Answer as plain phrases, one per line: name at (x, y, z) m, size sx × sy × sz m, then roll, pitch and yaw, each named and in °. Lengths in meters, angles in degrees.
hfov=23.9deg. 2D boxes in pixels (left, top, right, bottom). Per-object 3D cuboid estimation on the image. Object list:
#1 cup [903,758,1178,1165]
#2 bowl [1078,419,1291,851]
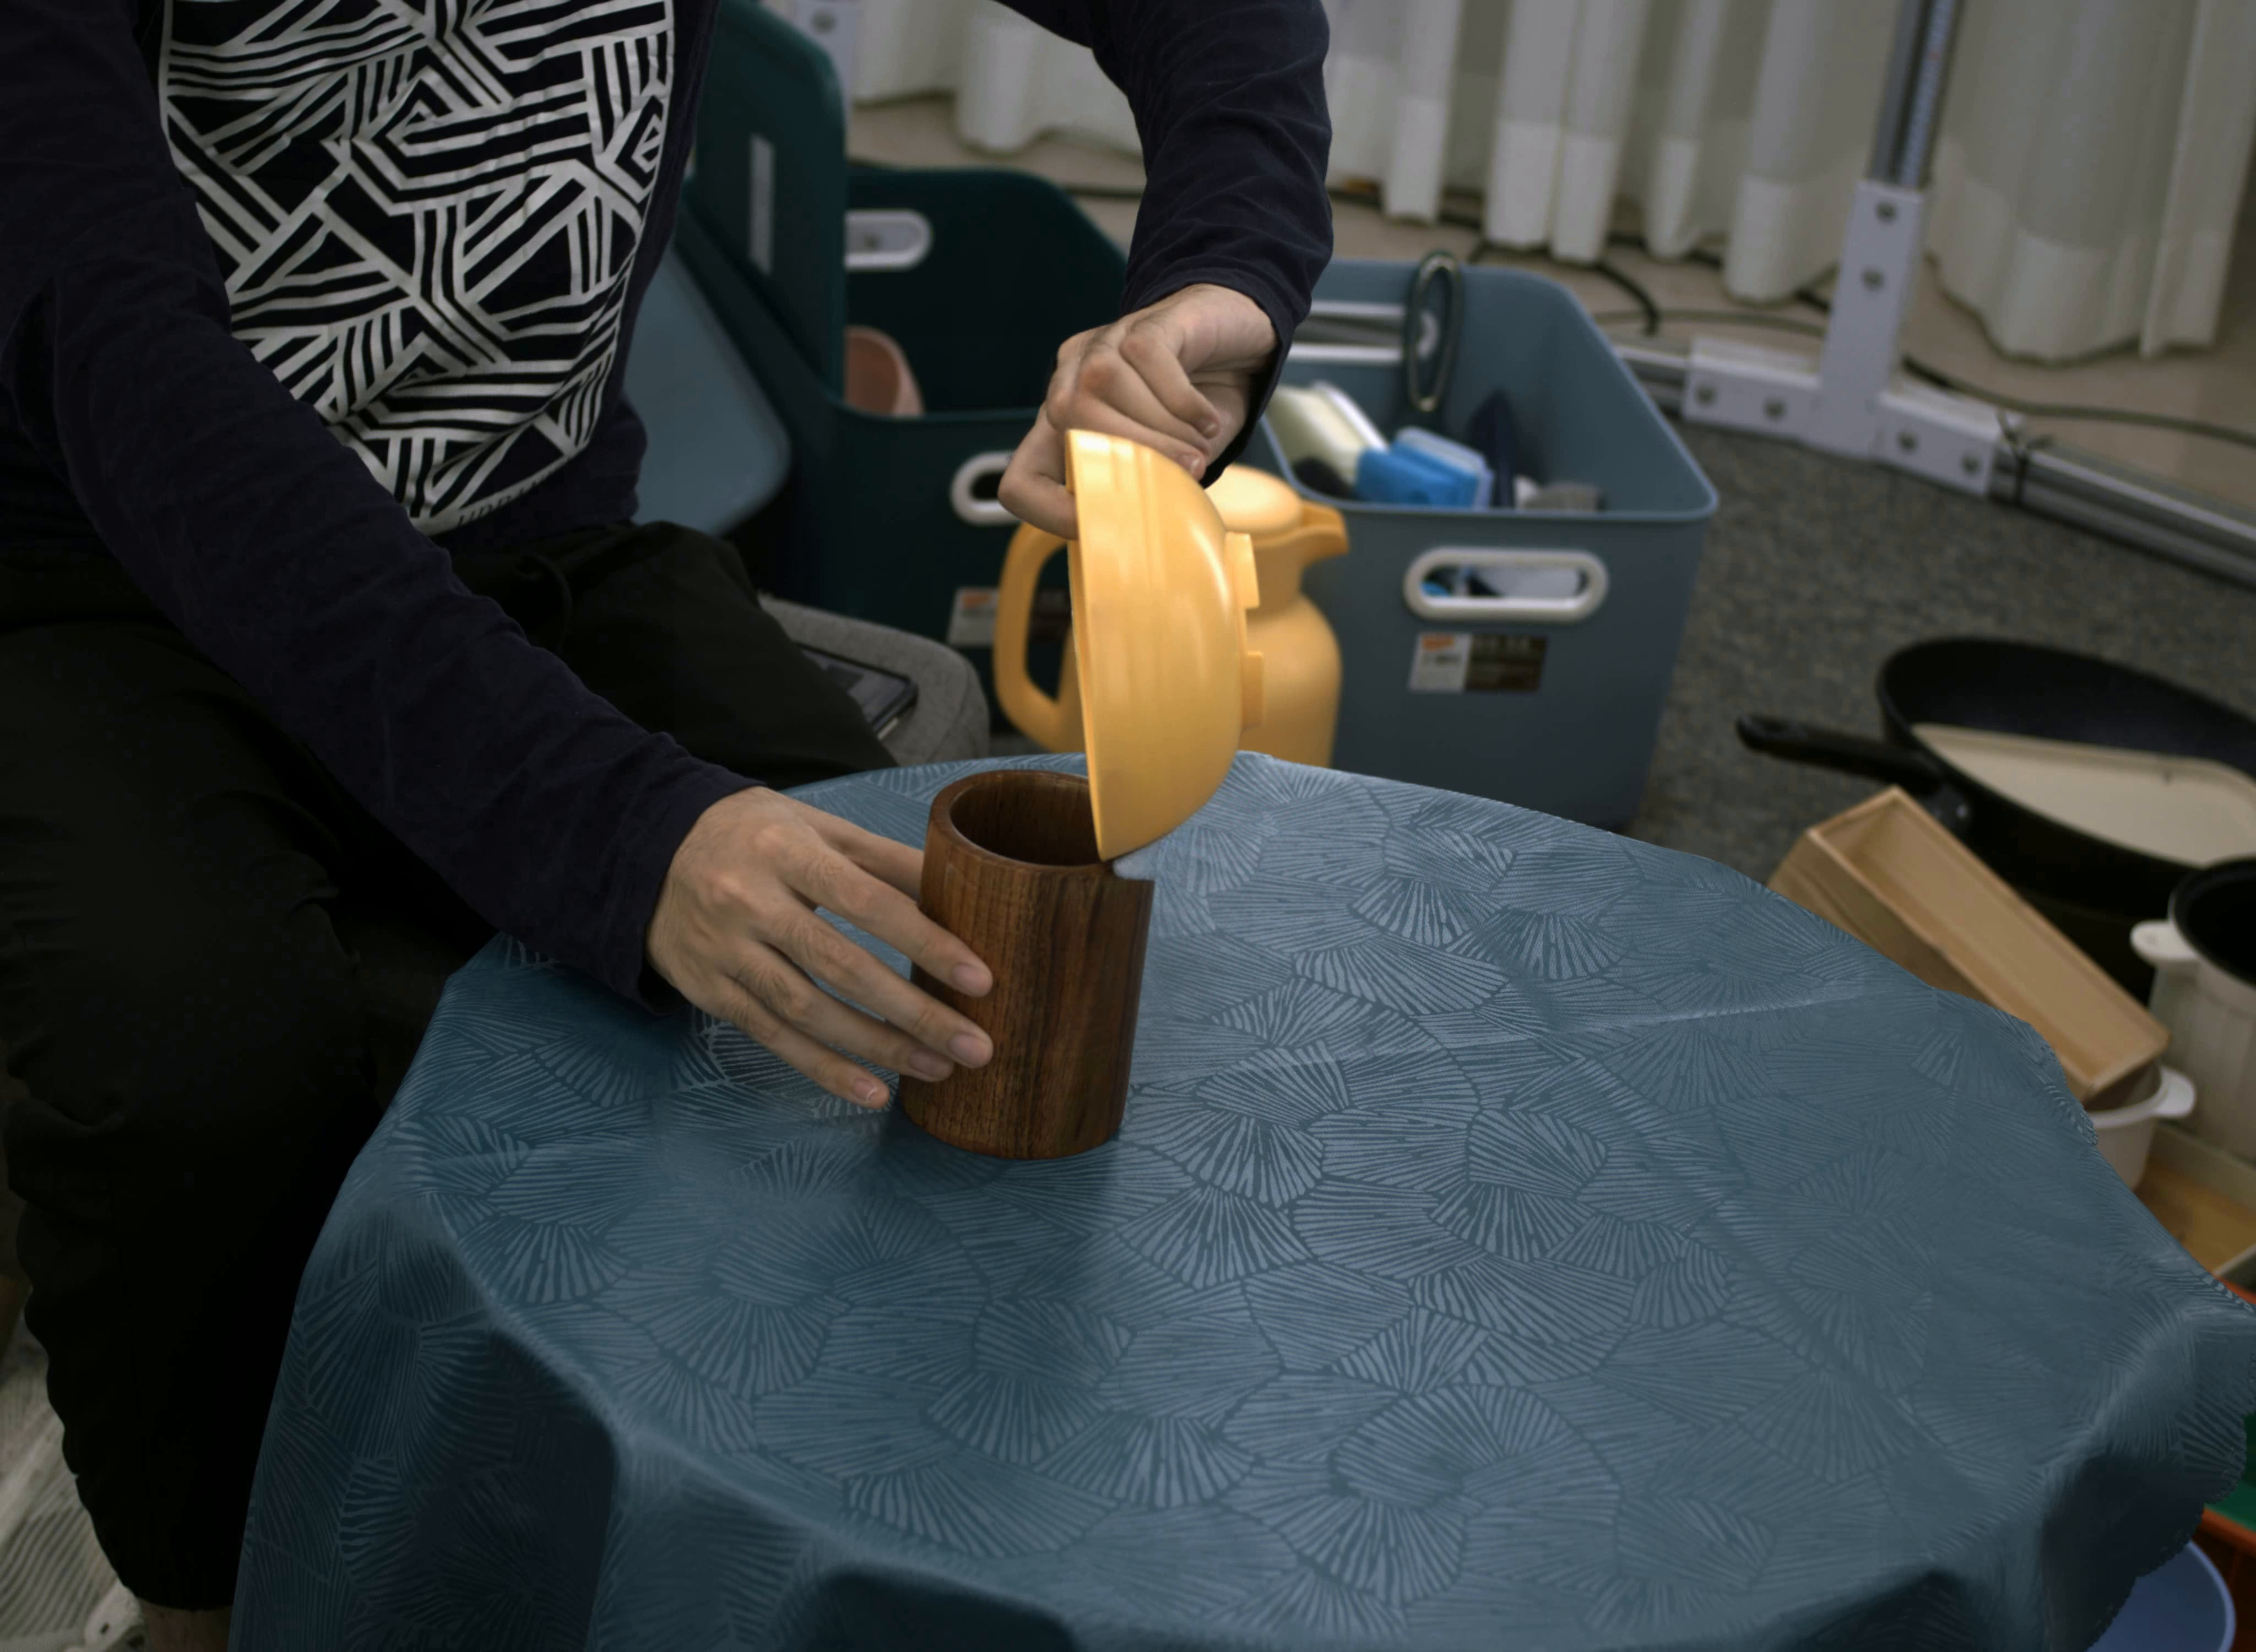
cup at (-0.032, 0.046, 1.823) m, size 0.087 × 0.118 × 0.088 m, roll 8°, pitch 24°, yaw -4°
bowl at (0.021, -0.067, 1.773) m, size 0.060 × 0.144 × 0.146 m, roll -7°, pitch 26°, yaw 5°
